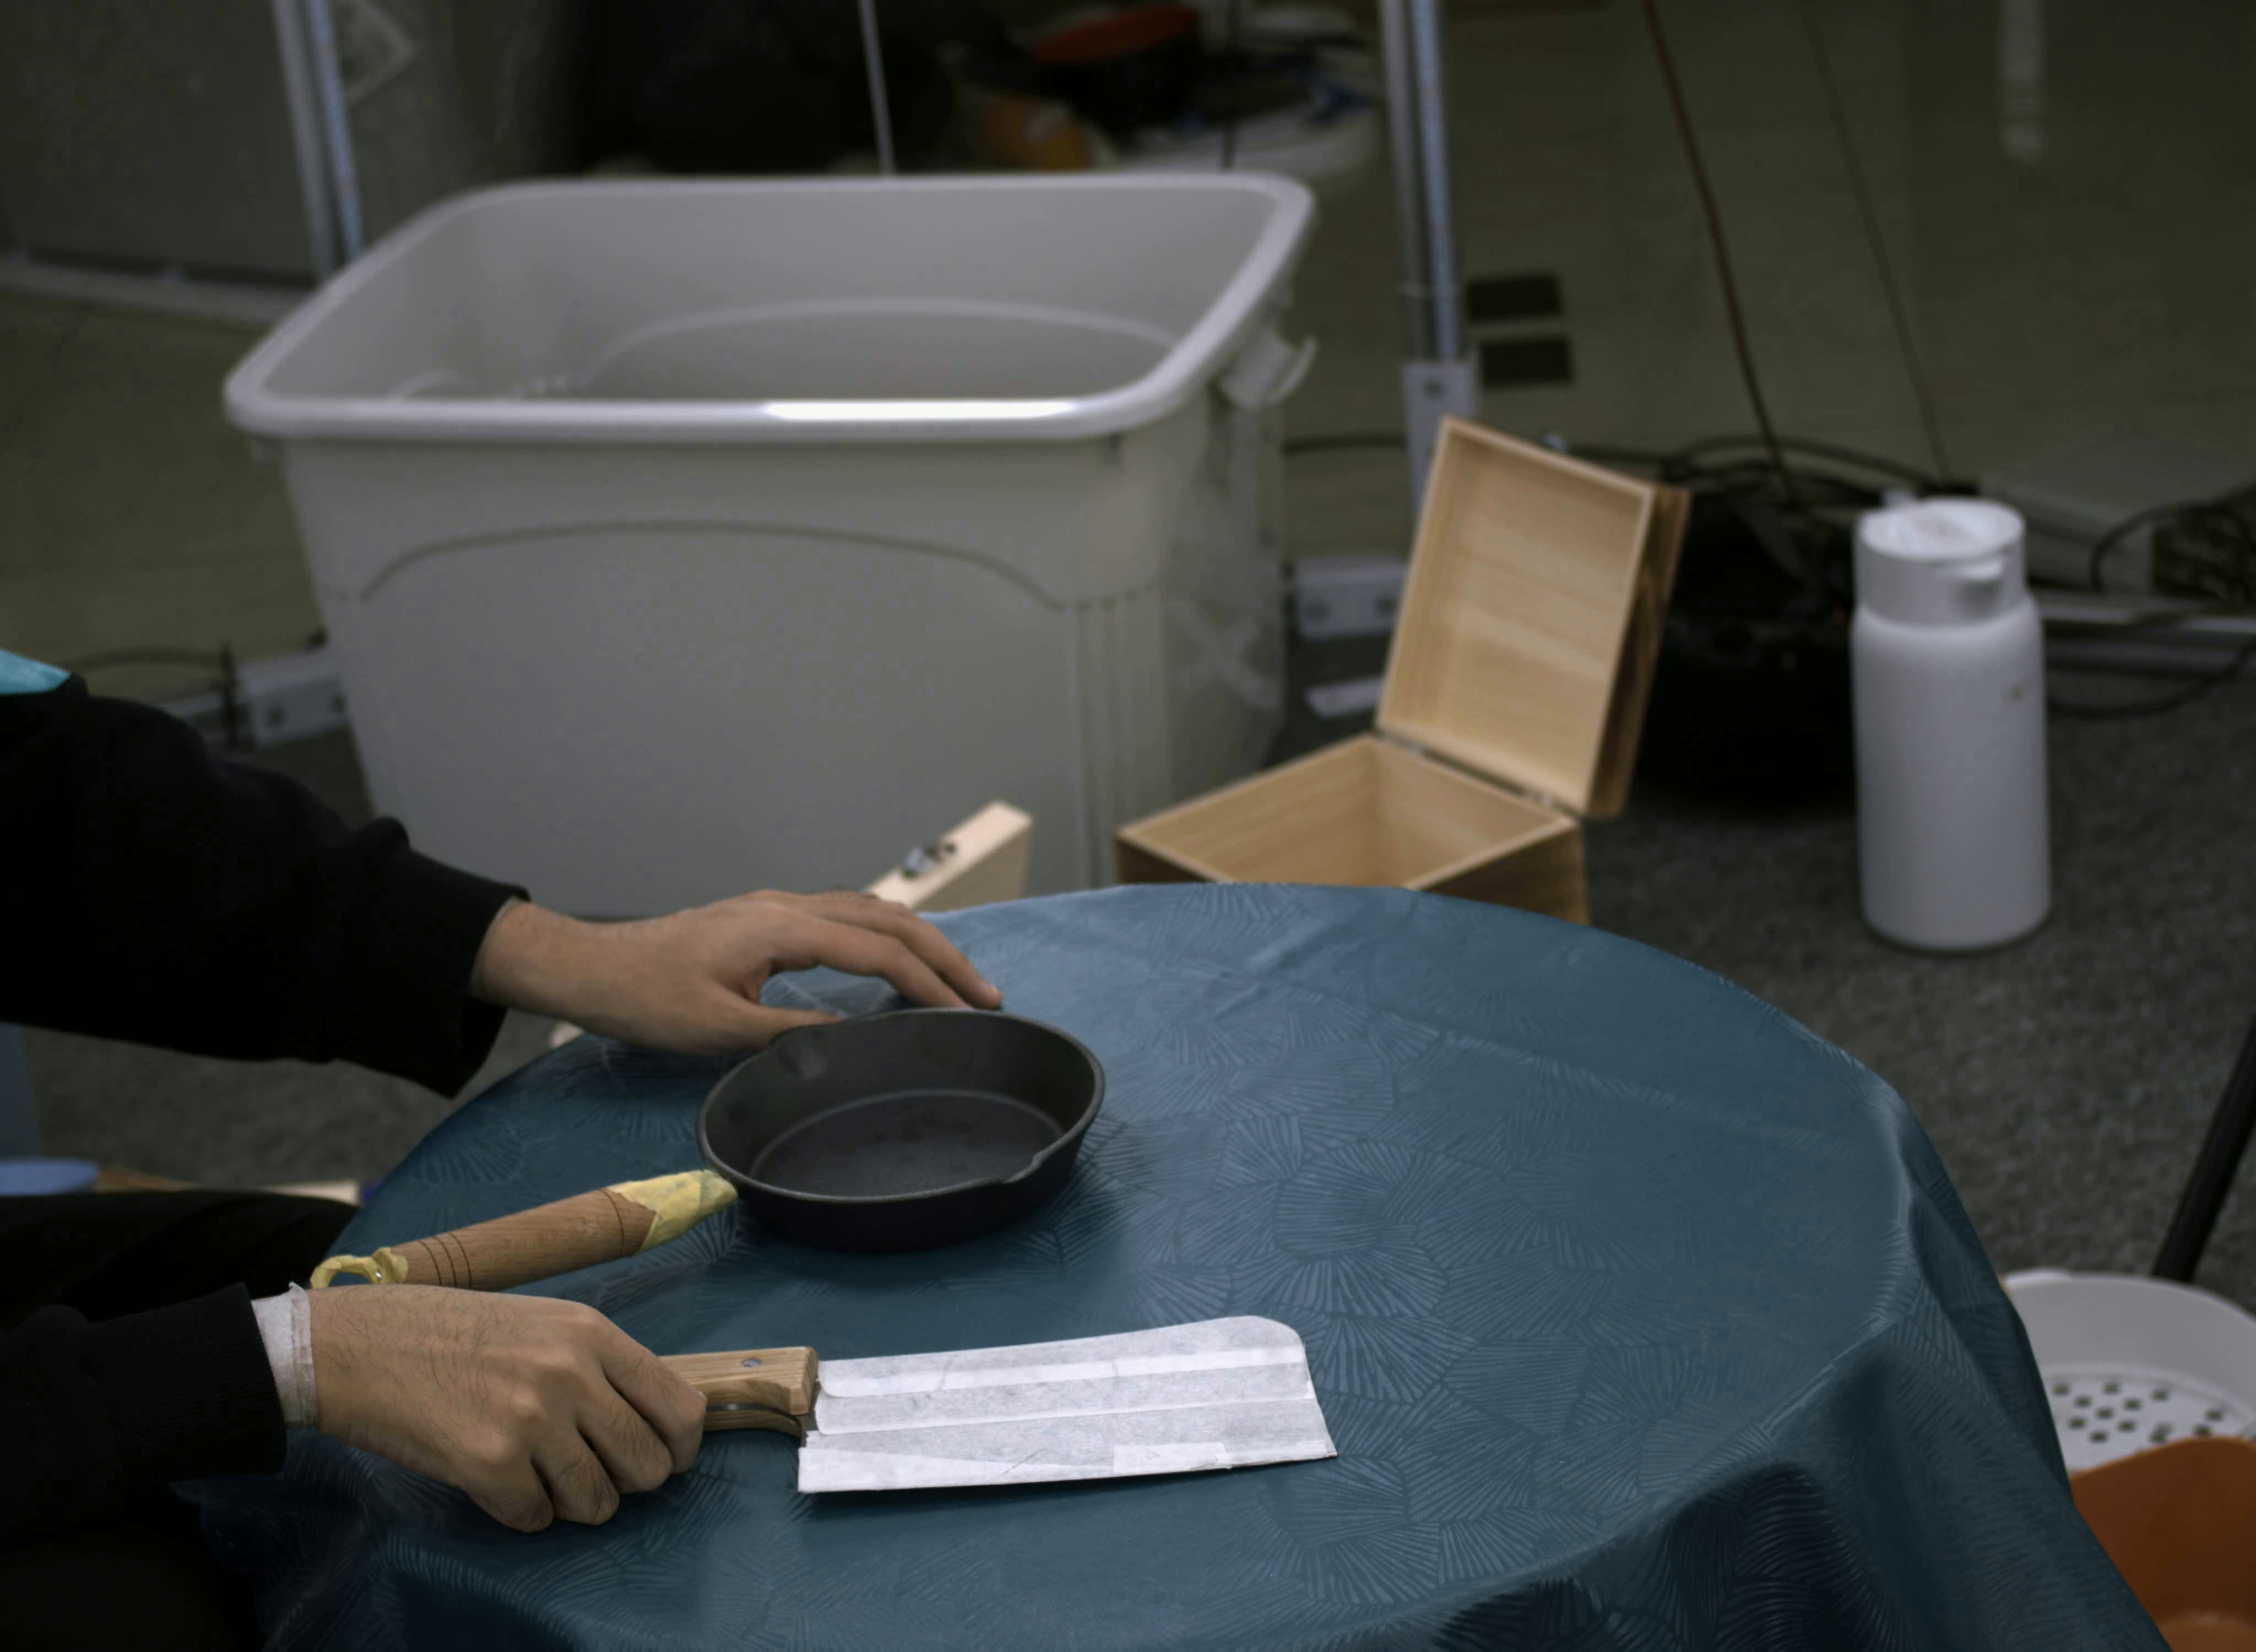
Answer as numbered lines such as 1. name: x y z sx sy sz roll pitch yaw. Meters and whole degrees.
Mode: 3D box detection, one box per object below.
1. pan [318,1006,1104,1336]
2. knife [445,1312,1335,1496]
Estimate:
1. pan: -0.156 0.138 2.127 0.322 0.050 0.167 -19 28 -28
2. knife: -0.085 0.205 2.005 0.315 0.022 0.112 -3 25 2
